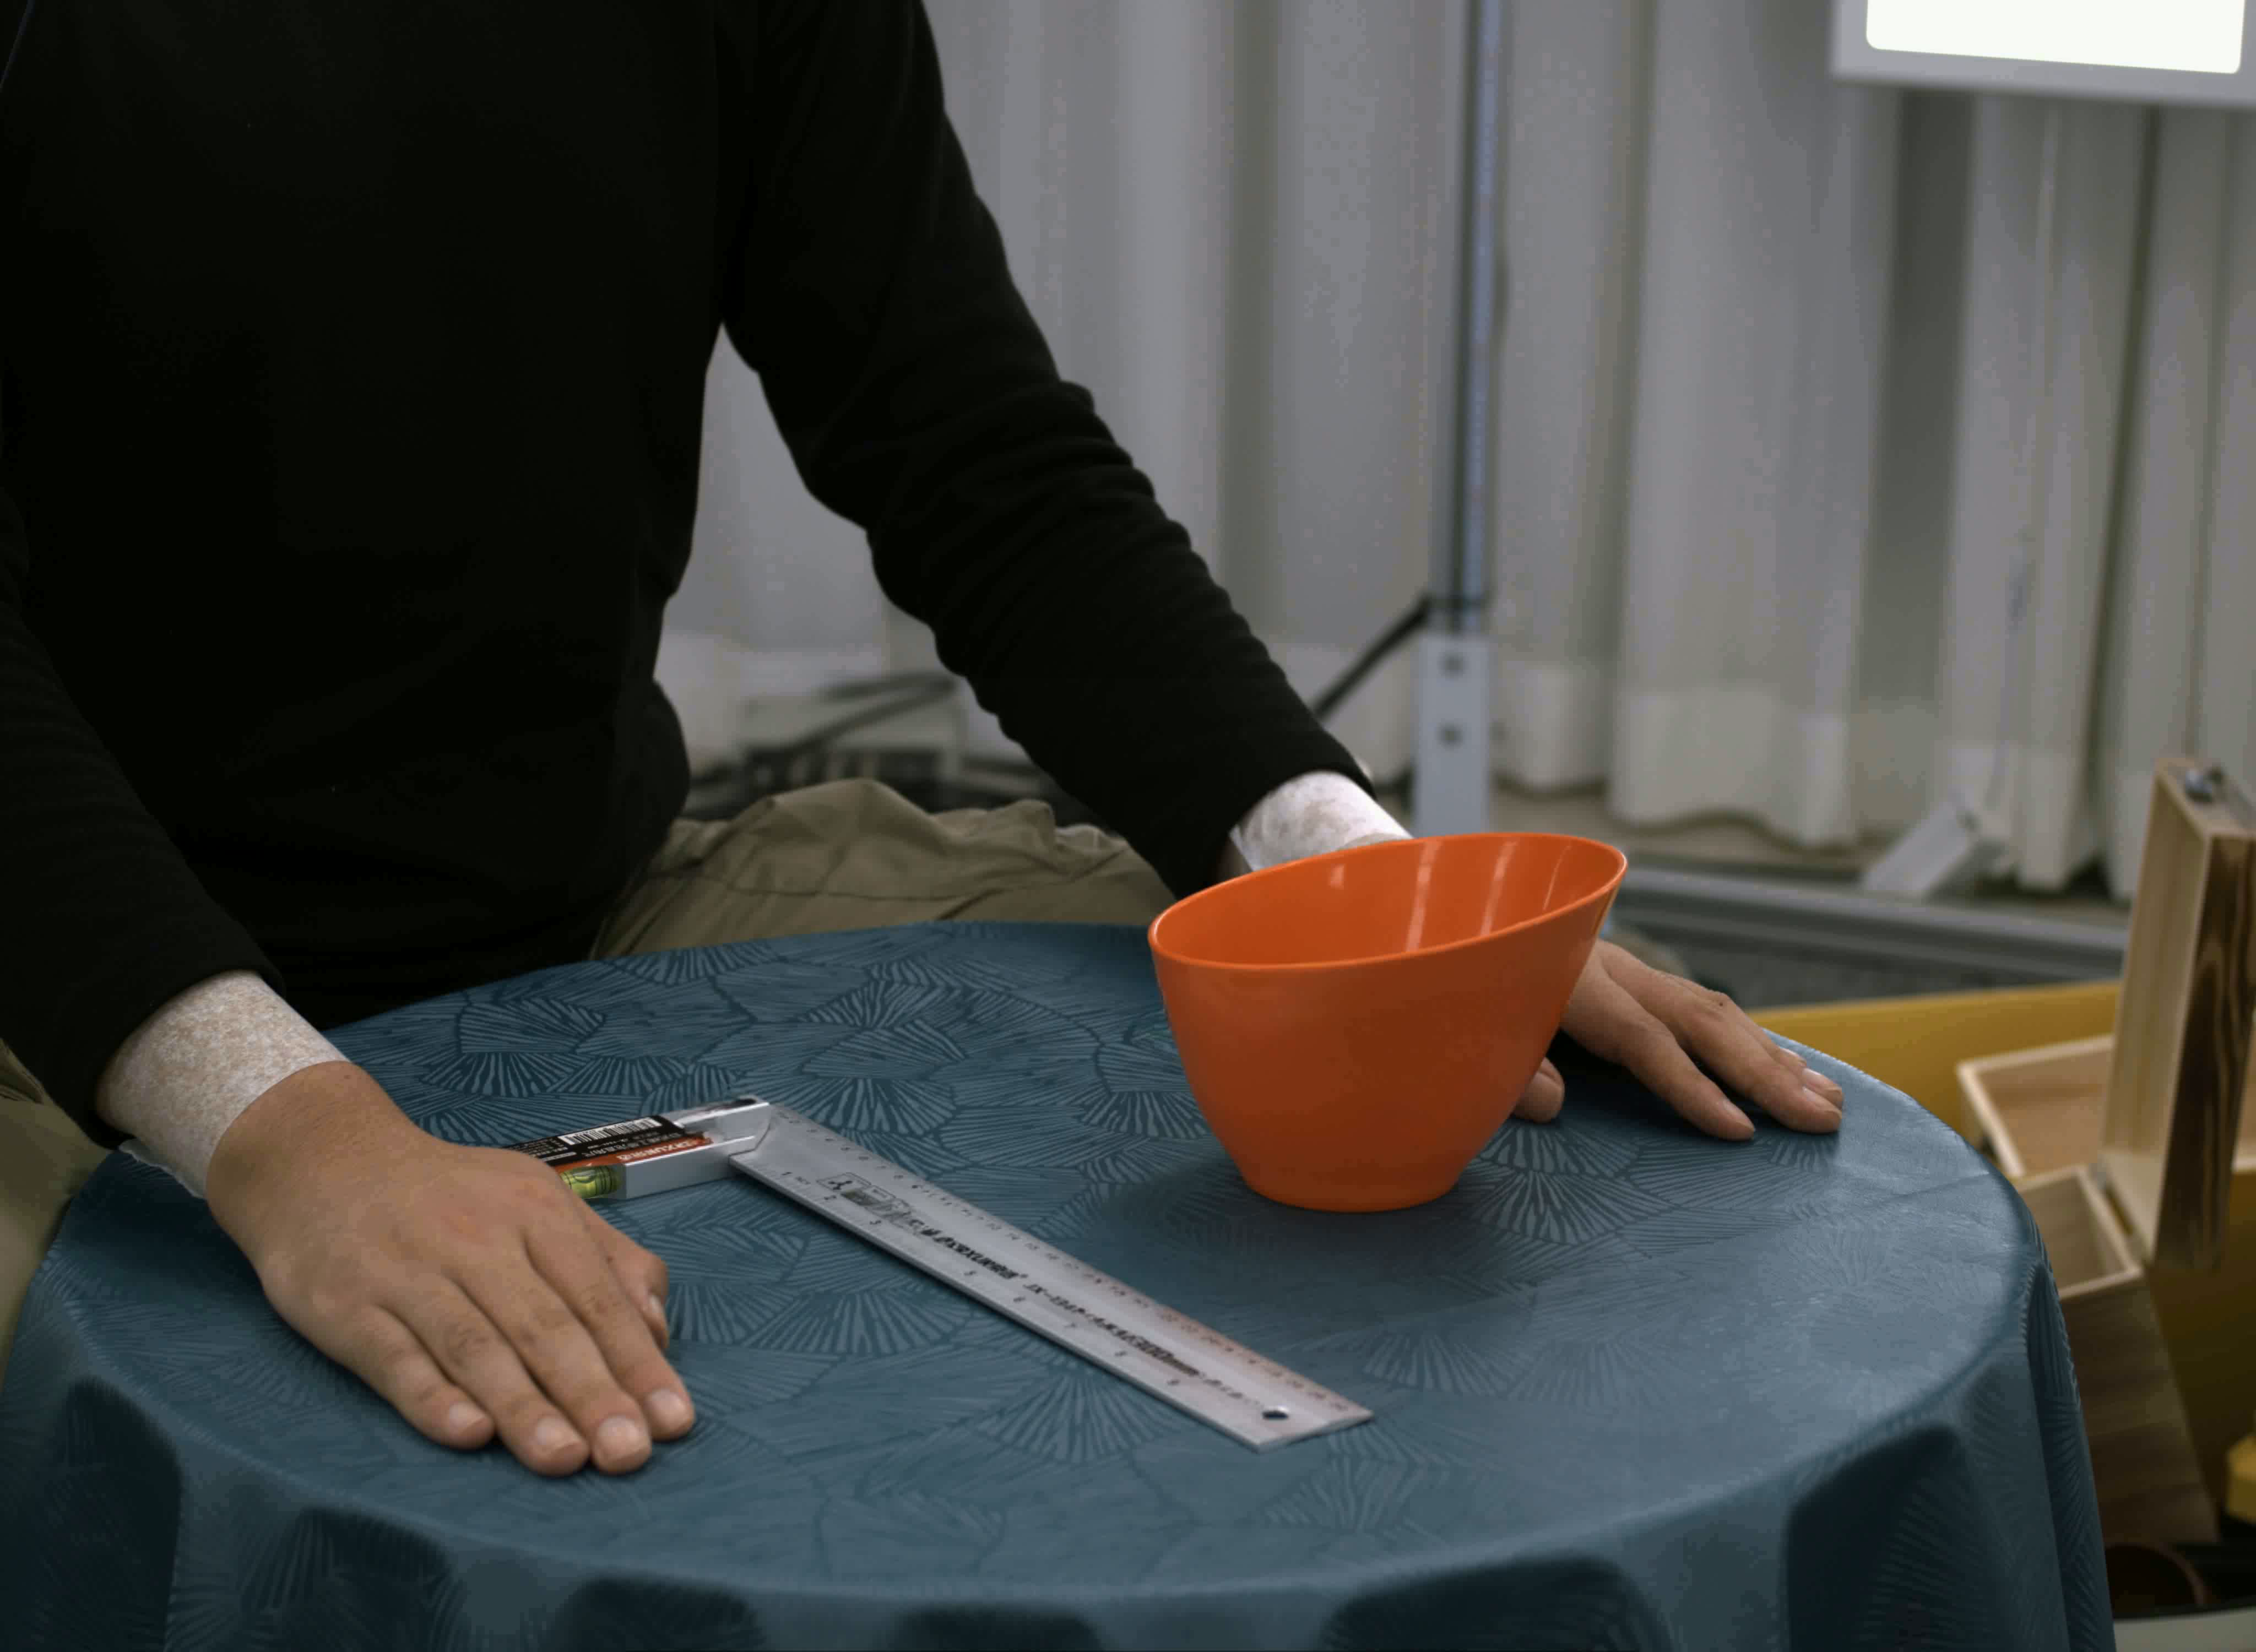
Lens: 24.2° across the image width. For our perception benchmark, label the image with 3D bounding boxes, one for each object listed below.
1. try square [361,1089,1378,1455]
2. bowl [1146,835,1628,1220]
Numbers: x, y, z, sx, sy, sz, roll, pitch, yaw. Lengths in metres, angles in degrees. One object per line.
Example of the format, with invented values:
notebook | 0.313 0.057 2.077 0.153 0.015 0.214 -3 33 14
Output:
try square | -0.082 0.140 1.519 0.153 0.016 0.308 -16 23 -33
bowl | 0.079 0.062 1.616 0.147 0.105 0.147 -1 16 1
